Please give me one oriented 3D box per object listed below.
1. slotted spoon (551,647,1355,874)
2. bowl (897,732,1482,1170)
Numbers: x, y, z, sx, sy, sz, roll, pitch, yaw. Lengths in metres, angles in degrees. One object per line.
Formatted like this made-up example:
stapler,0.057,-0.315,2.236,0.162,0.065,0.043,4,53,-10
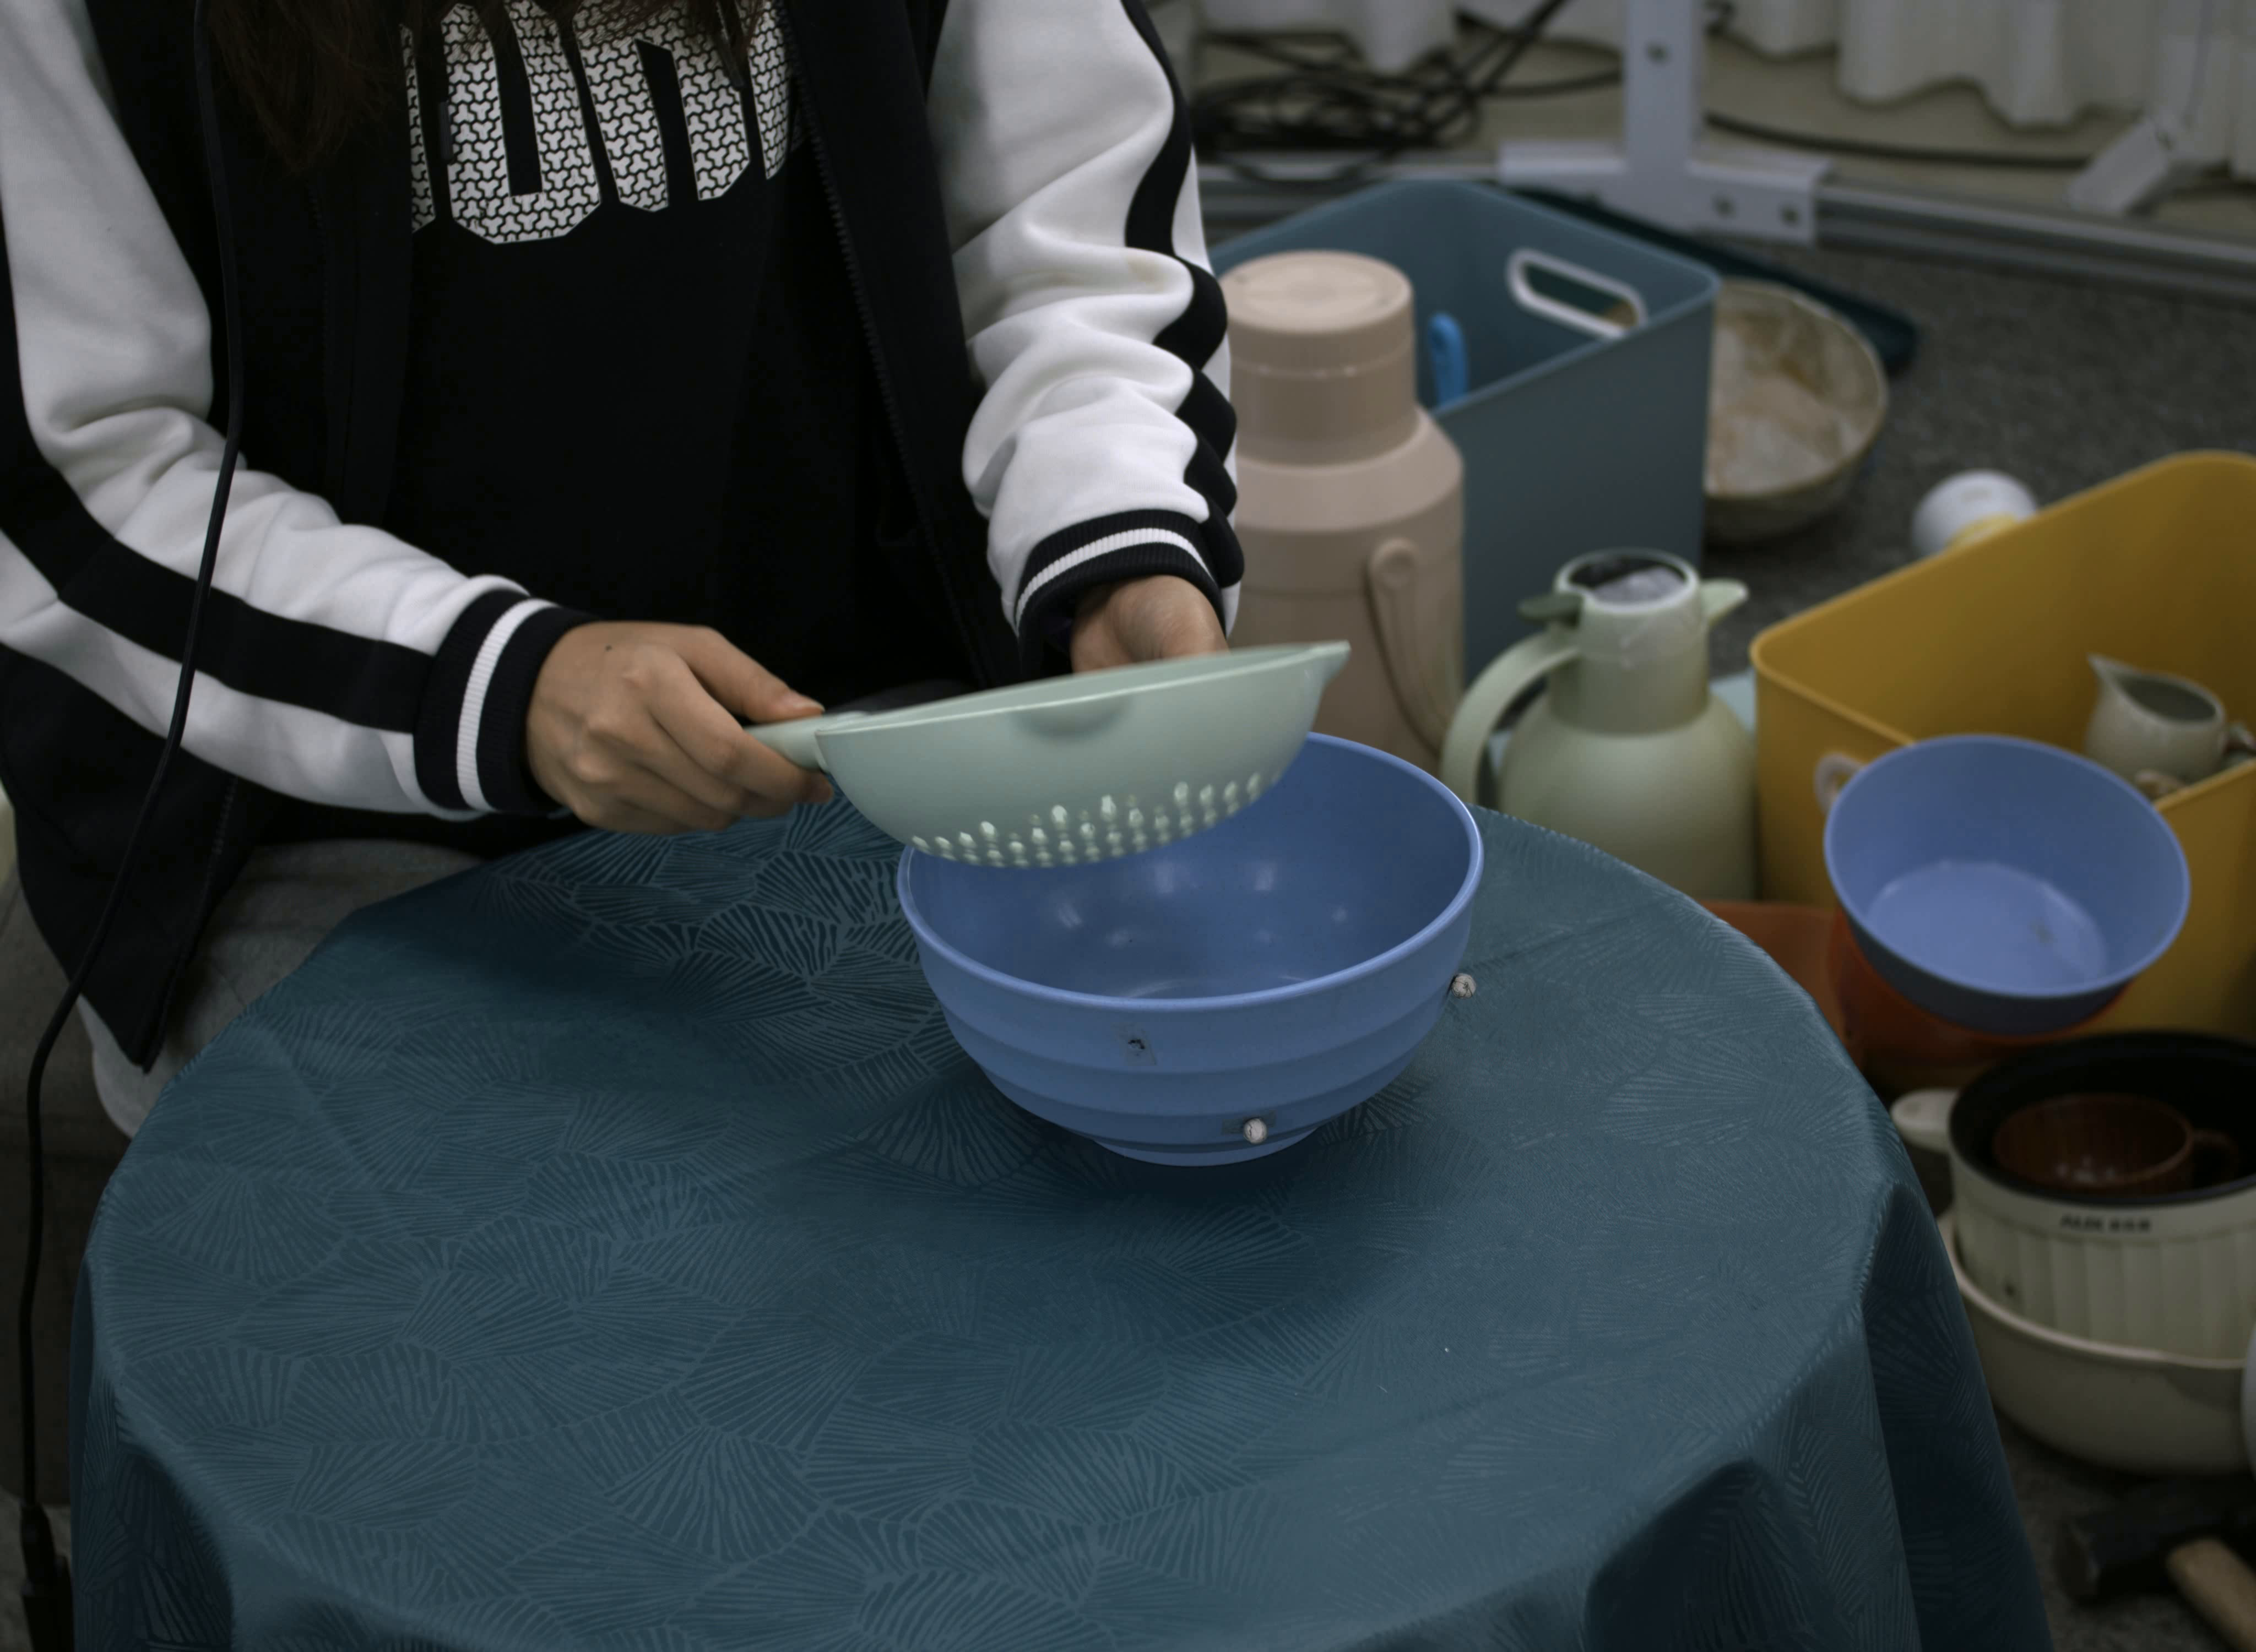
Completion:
slotted spoon,-0.083,-0.023,1.912,0.356,0.075,0.170,4,10,45
bowl,0.023,0.052,1.893,0.195,0.094,0.199,-3,27,2
